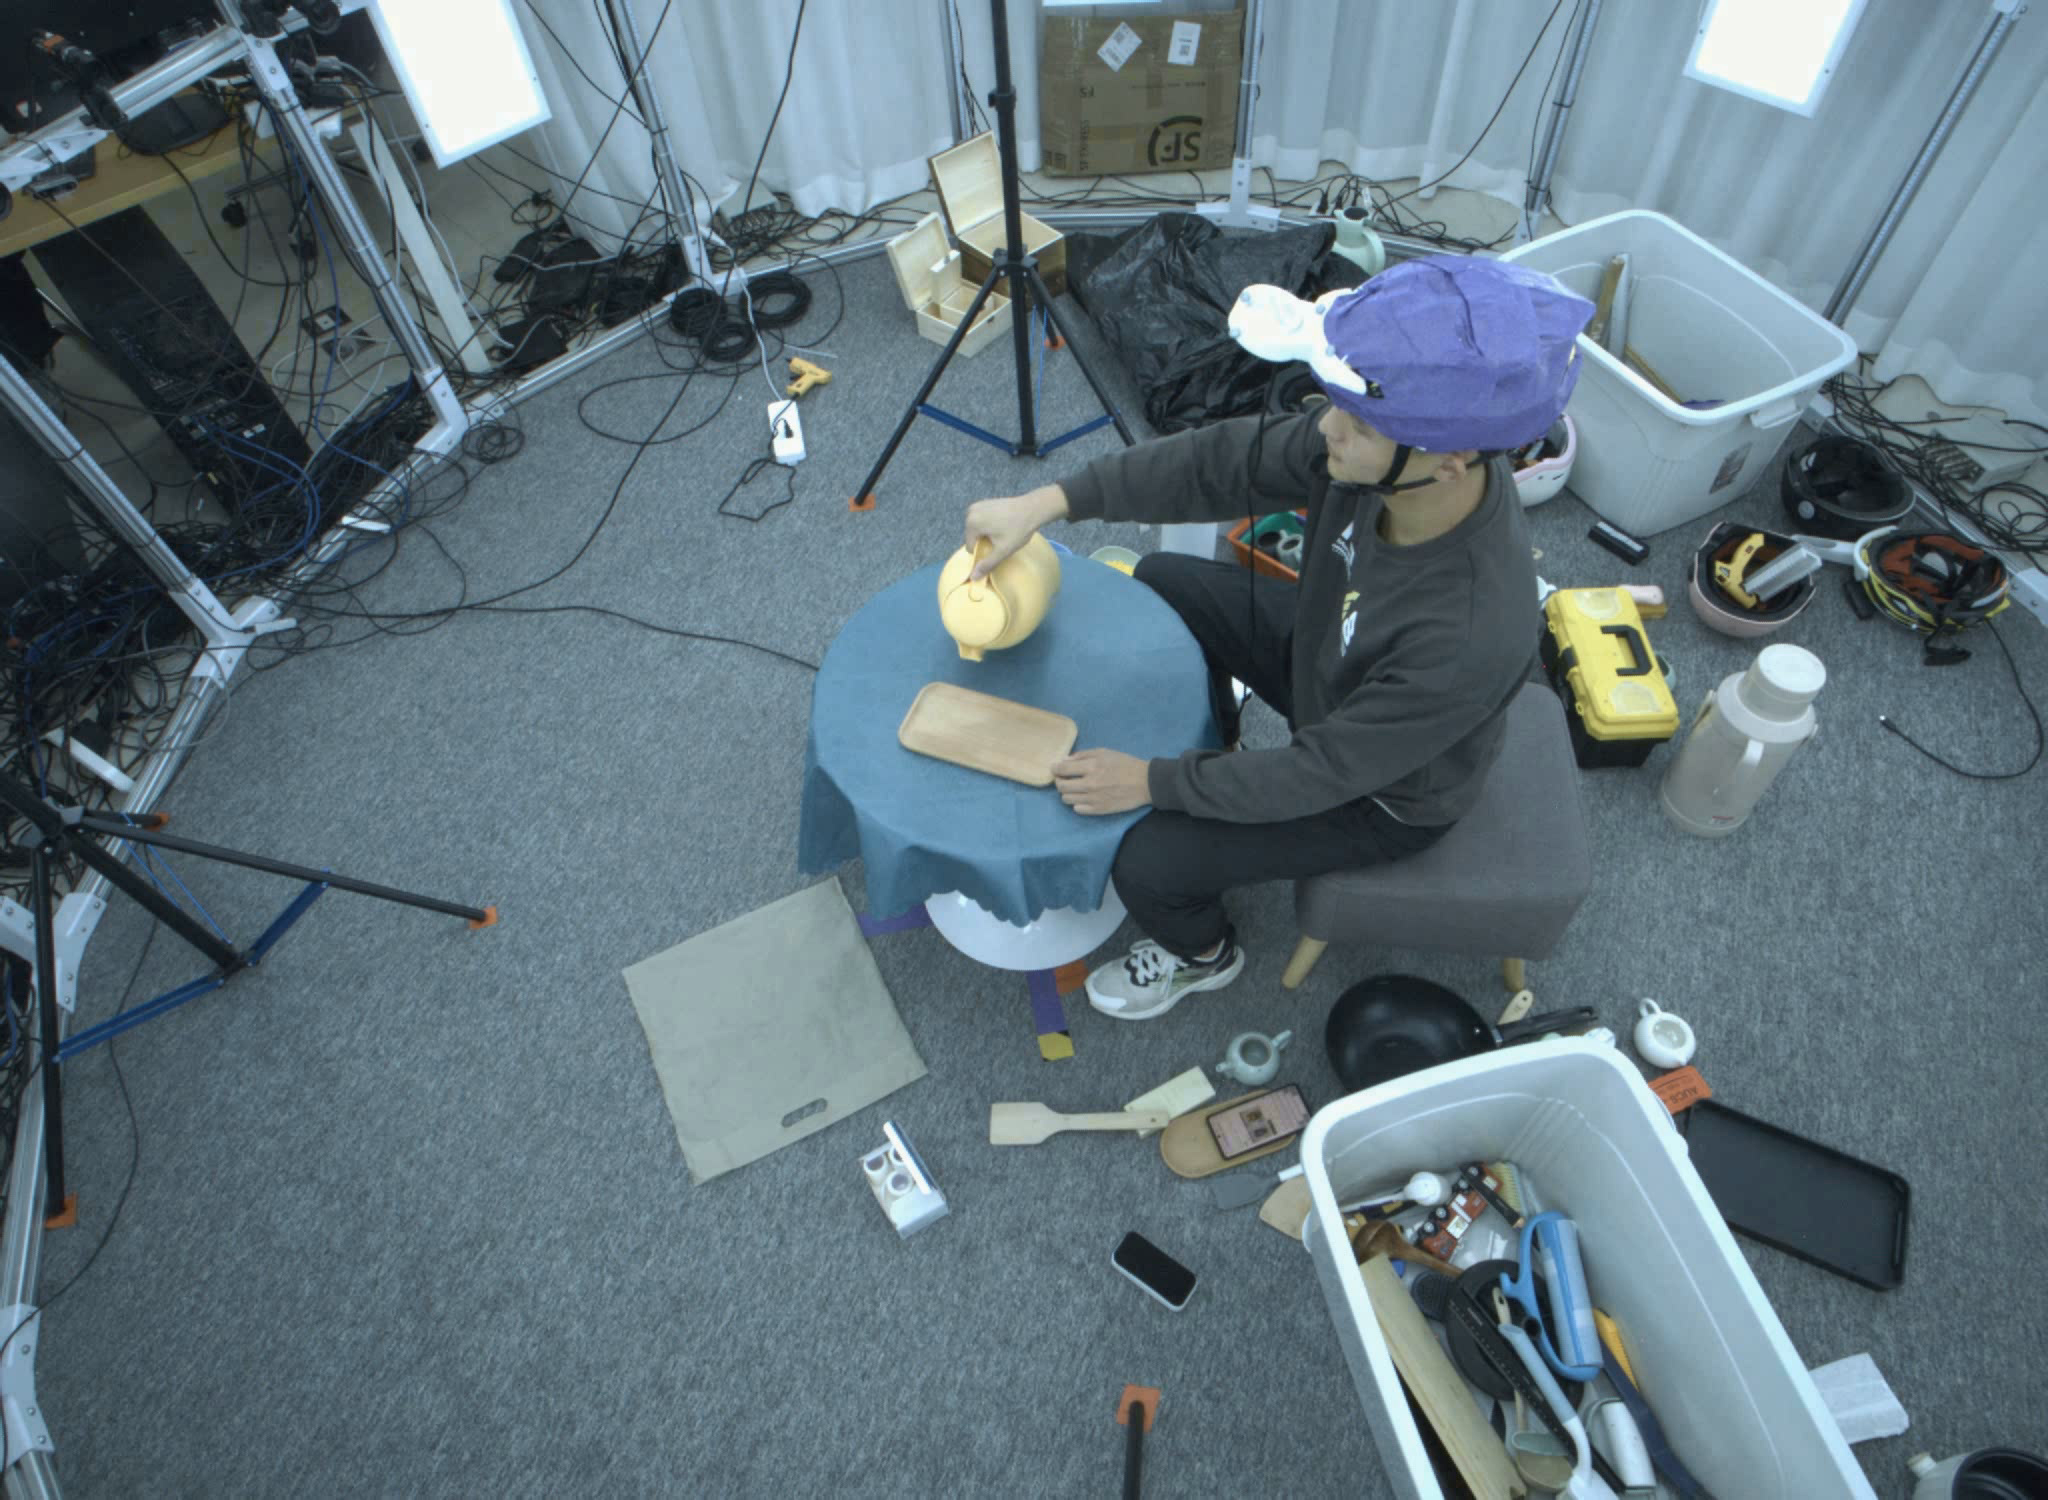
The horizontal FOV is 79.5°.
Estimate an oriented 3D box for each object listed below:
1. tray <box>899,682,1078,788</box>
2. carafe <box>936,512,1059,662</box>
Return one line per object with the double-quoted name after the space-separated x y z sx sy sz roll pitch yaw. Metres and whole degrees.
-0.052 -0.023 1.793 0.248 0.023 0.130 18 59 13 "tray"
-0.041 -0.249 1.781 0.163 0.203 0.260 13 26 4 "carafe"
